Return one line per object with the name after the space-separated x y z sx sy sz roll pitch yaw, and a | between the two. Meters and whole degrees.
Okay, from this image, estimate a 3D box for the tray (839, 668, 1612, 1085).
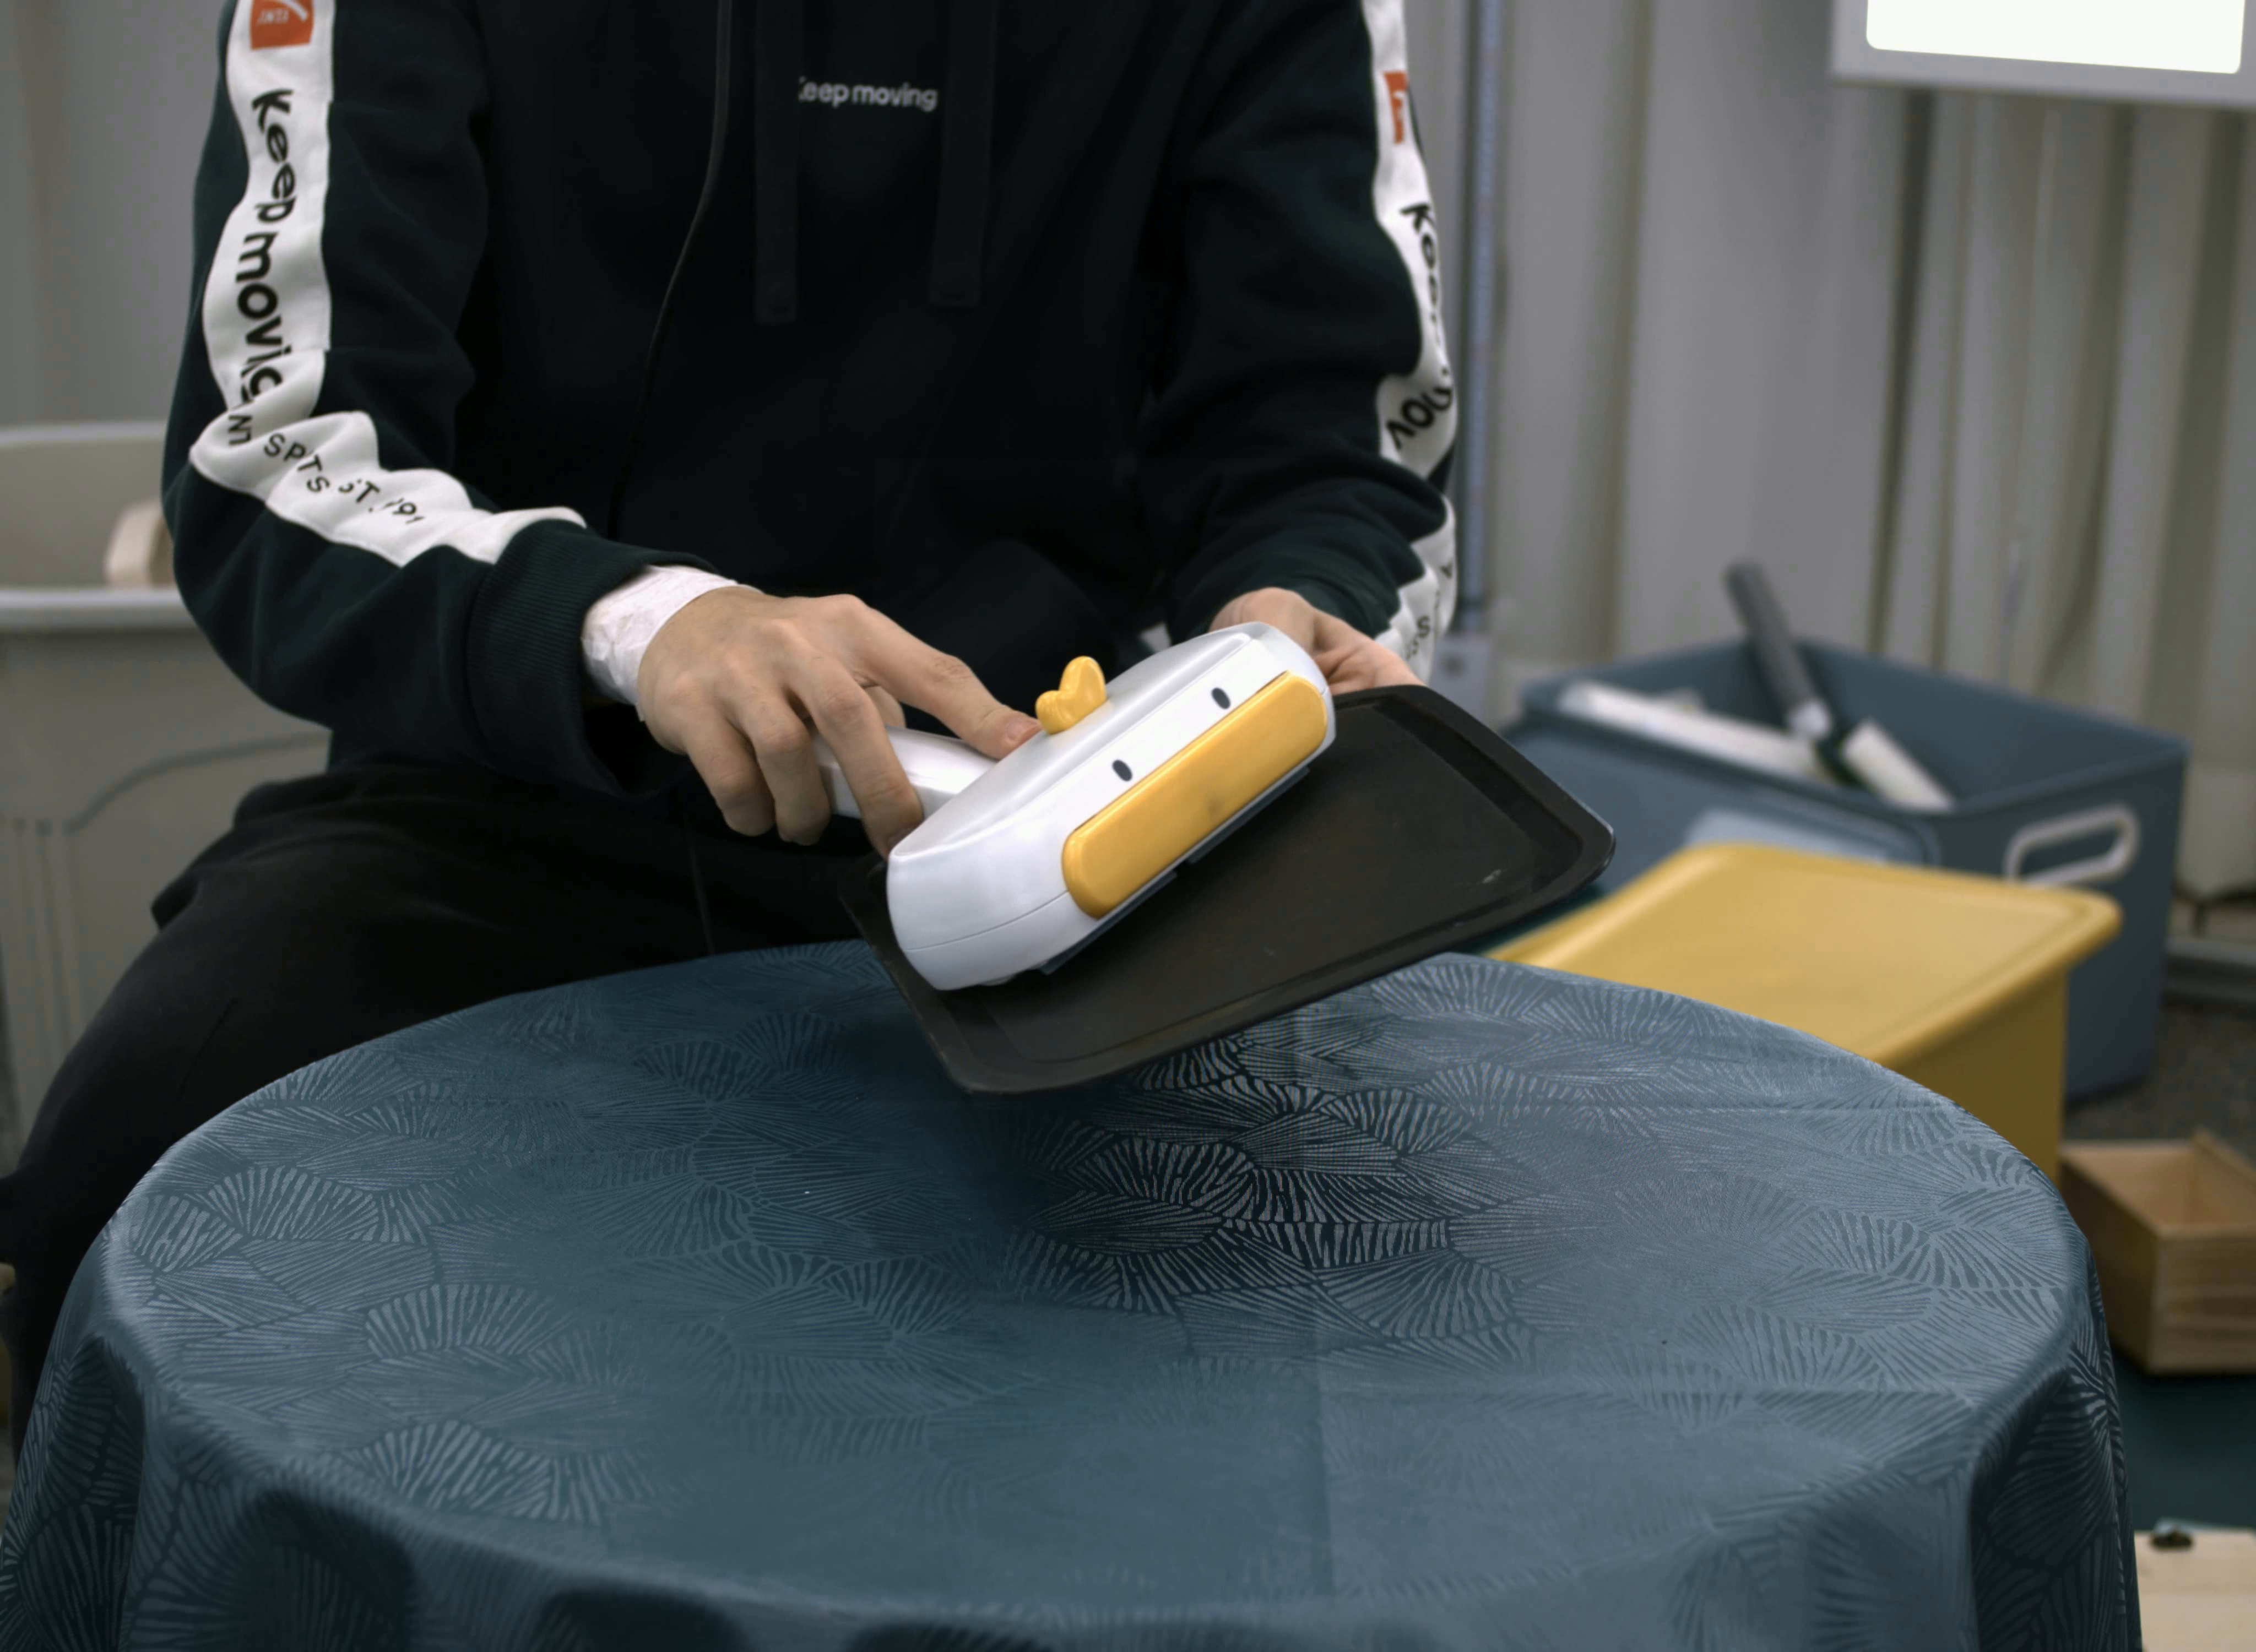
0.020 0.008 1.655 0.211 0.010 0.322 -21 17 -7 | tray

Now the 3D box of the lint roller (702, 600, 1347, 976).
-0.049 -0.013 1.674 0.190 0.075 0.192 -6 25 34 | lint roller
